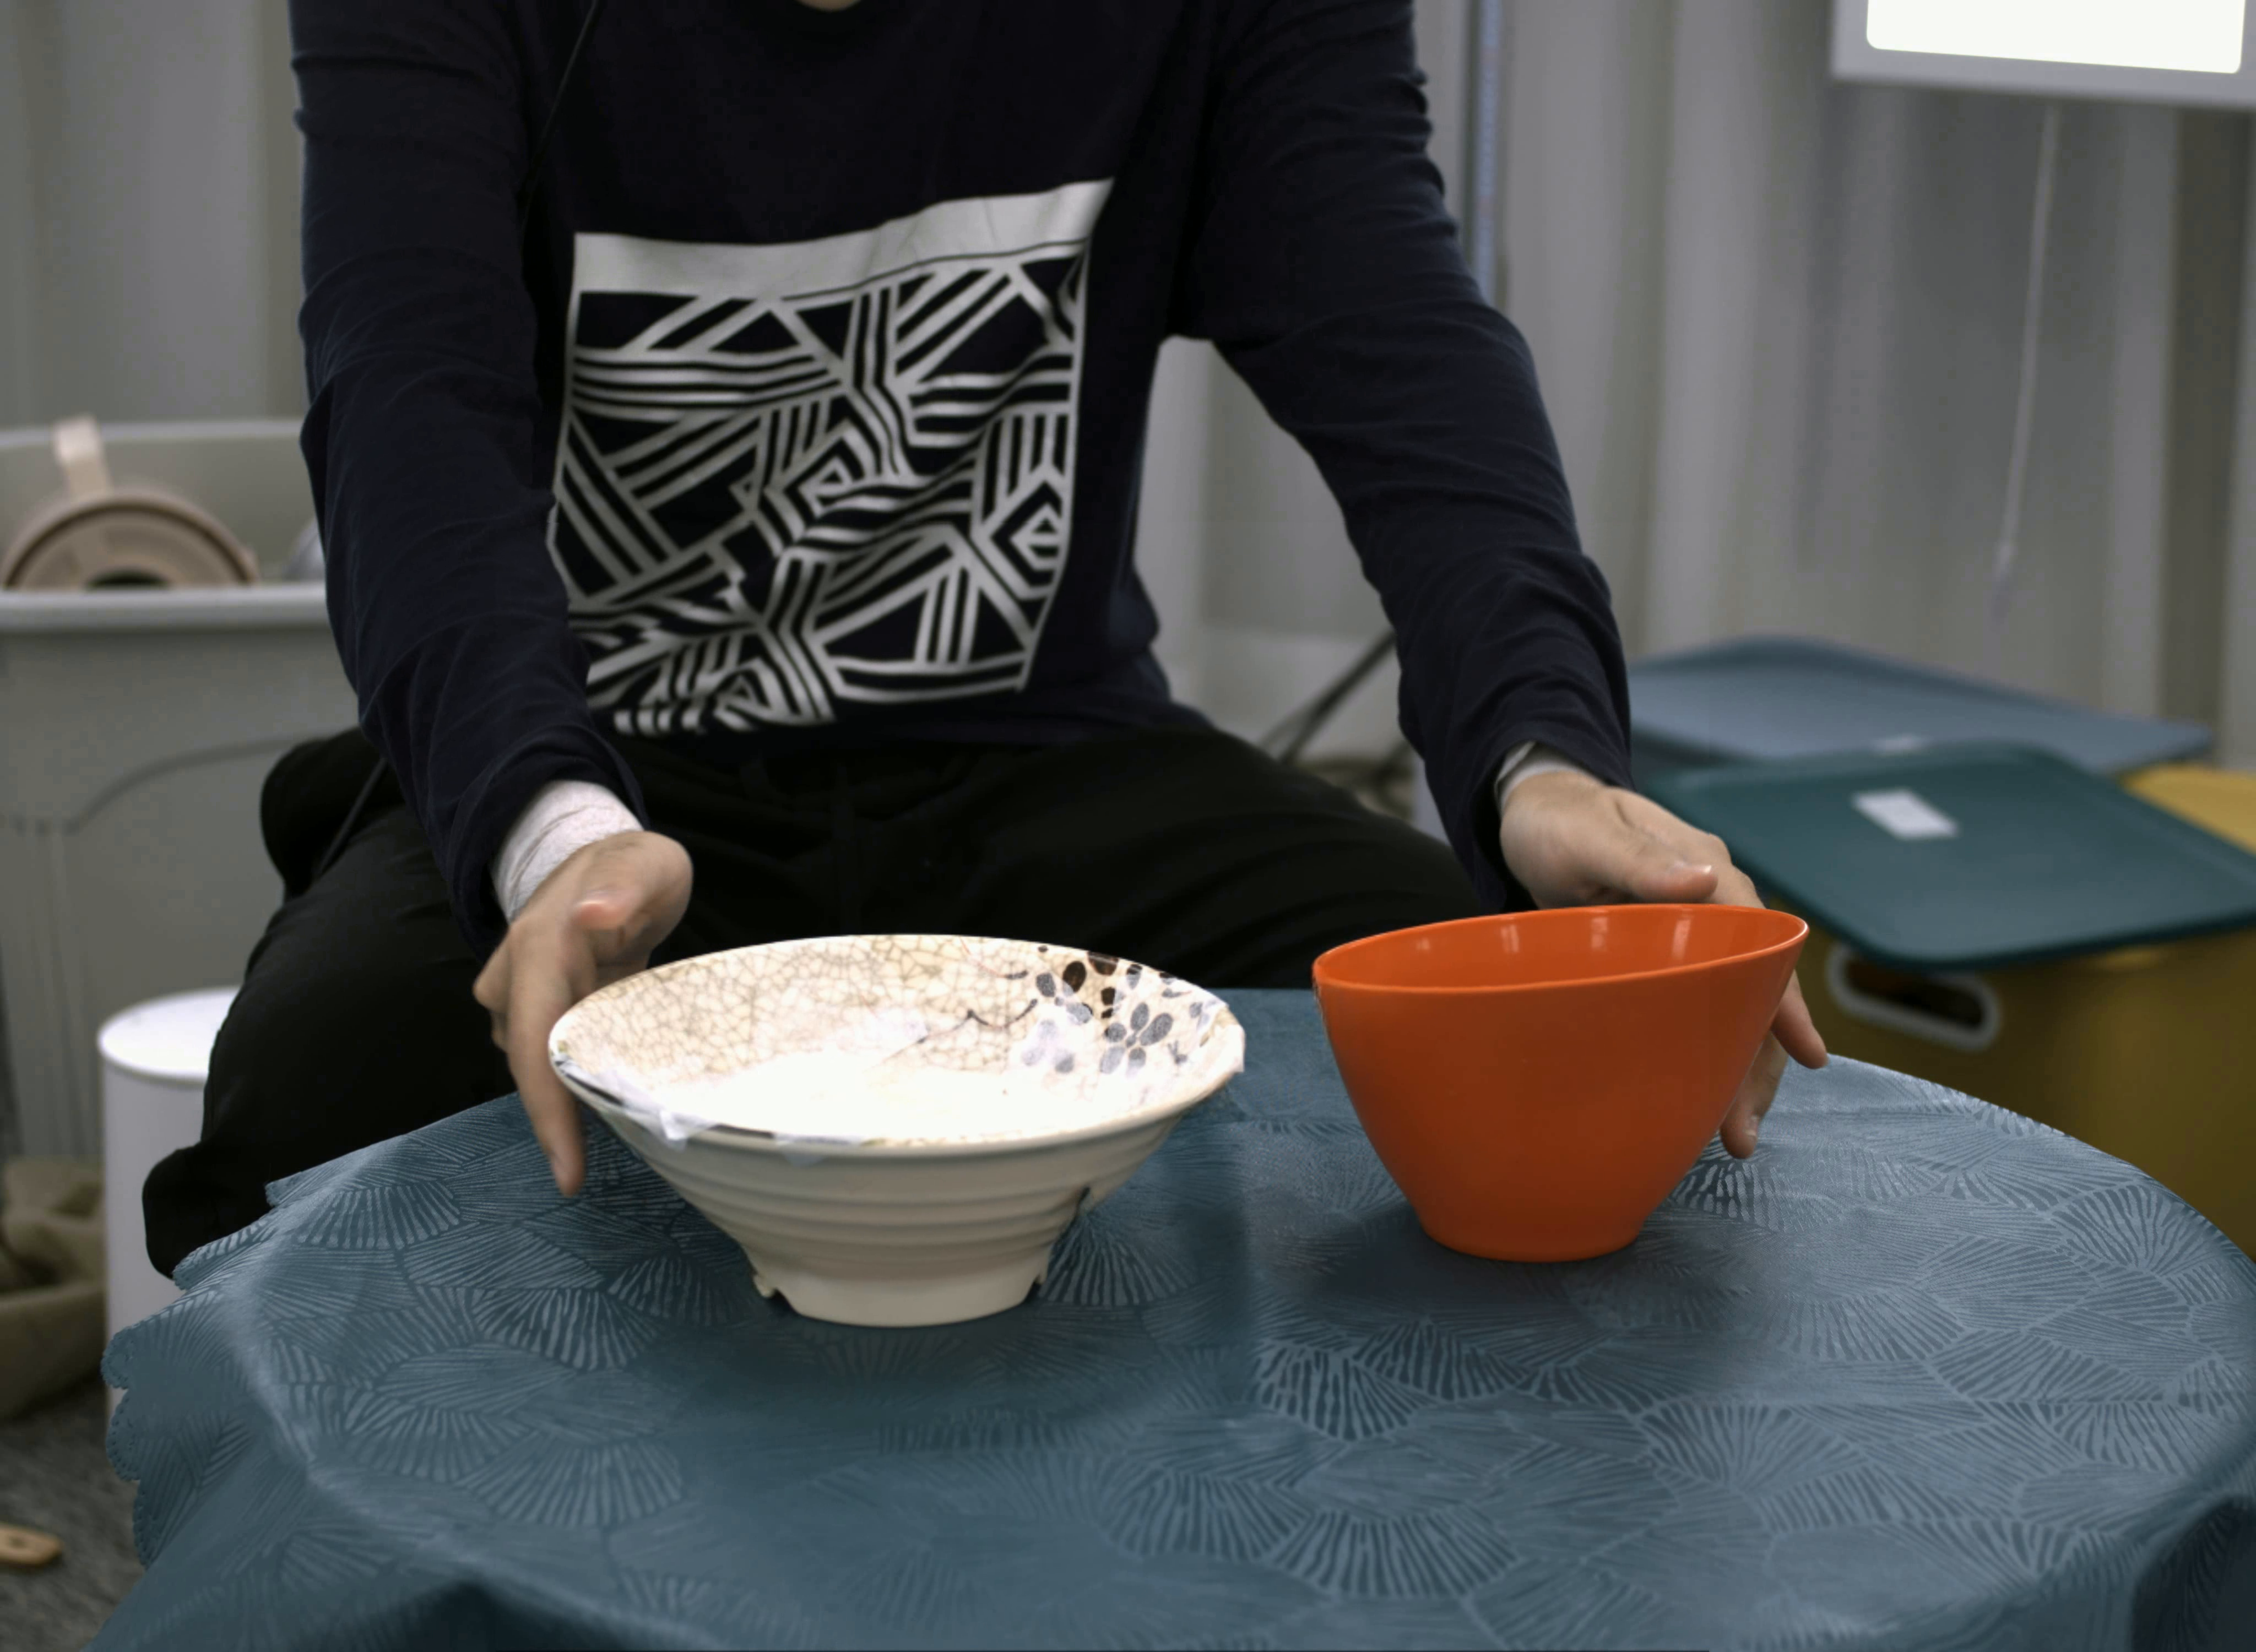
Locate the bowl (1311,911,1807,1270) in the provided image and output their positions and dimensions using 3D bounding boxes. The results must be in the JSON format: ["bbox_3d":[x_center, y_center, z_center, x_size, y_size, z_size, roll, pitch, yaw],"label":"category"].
[{"bbox_3d":[0.127,0.076,1.573,0.147,0.105,0.147,0,14,1],"label":"bowl"}]

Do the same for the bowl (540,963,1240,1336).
[{"bbox_3d":[-0.069,0.099,1.536,0.203,0.078,0.203,1,11,0],"label":"bowl"}]
